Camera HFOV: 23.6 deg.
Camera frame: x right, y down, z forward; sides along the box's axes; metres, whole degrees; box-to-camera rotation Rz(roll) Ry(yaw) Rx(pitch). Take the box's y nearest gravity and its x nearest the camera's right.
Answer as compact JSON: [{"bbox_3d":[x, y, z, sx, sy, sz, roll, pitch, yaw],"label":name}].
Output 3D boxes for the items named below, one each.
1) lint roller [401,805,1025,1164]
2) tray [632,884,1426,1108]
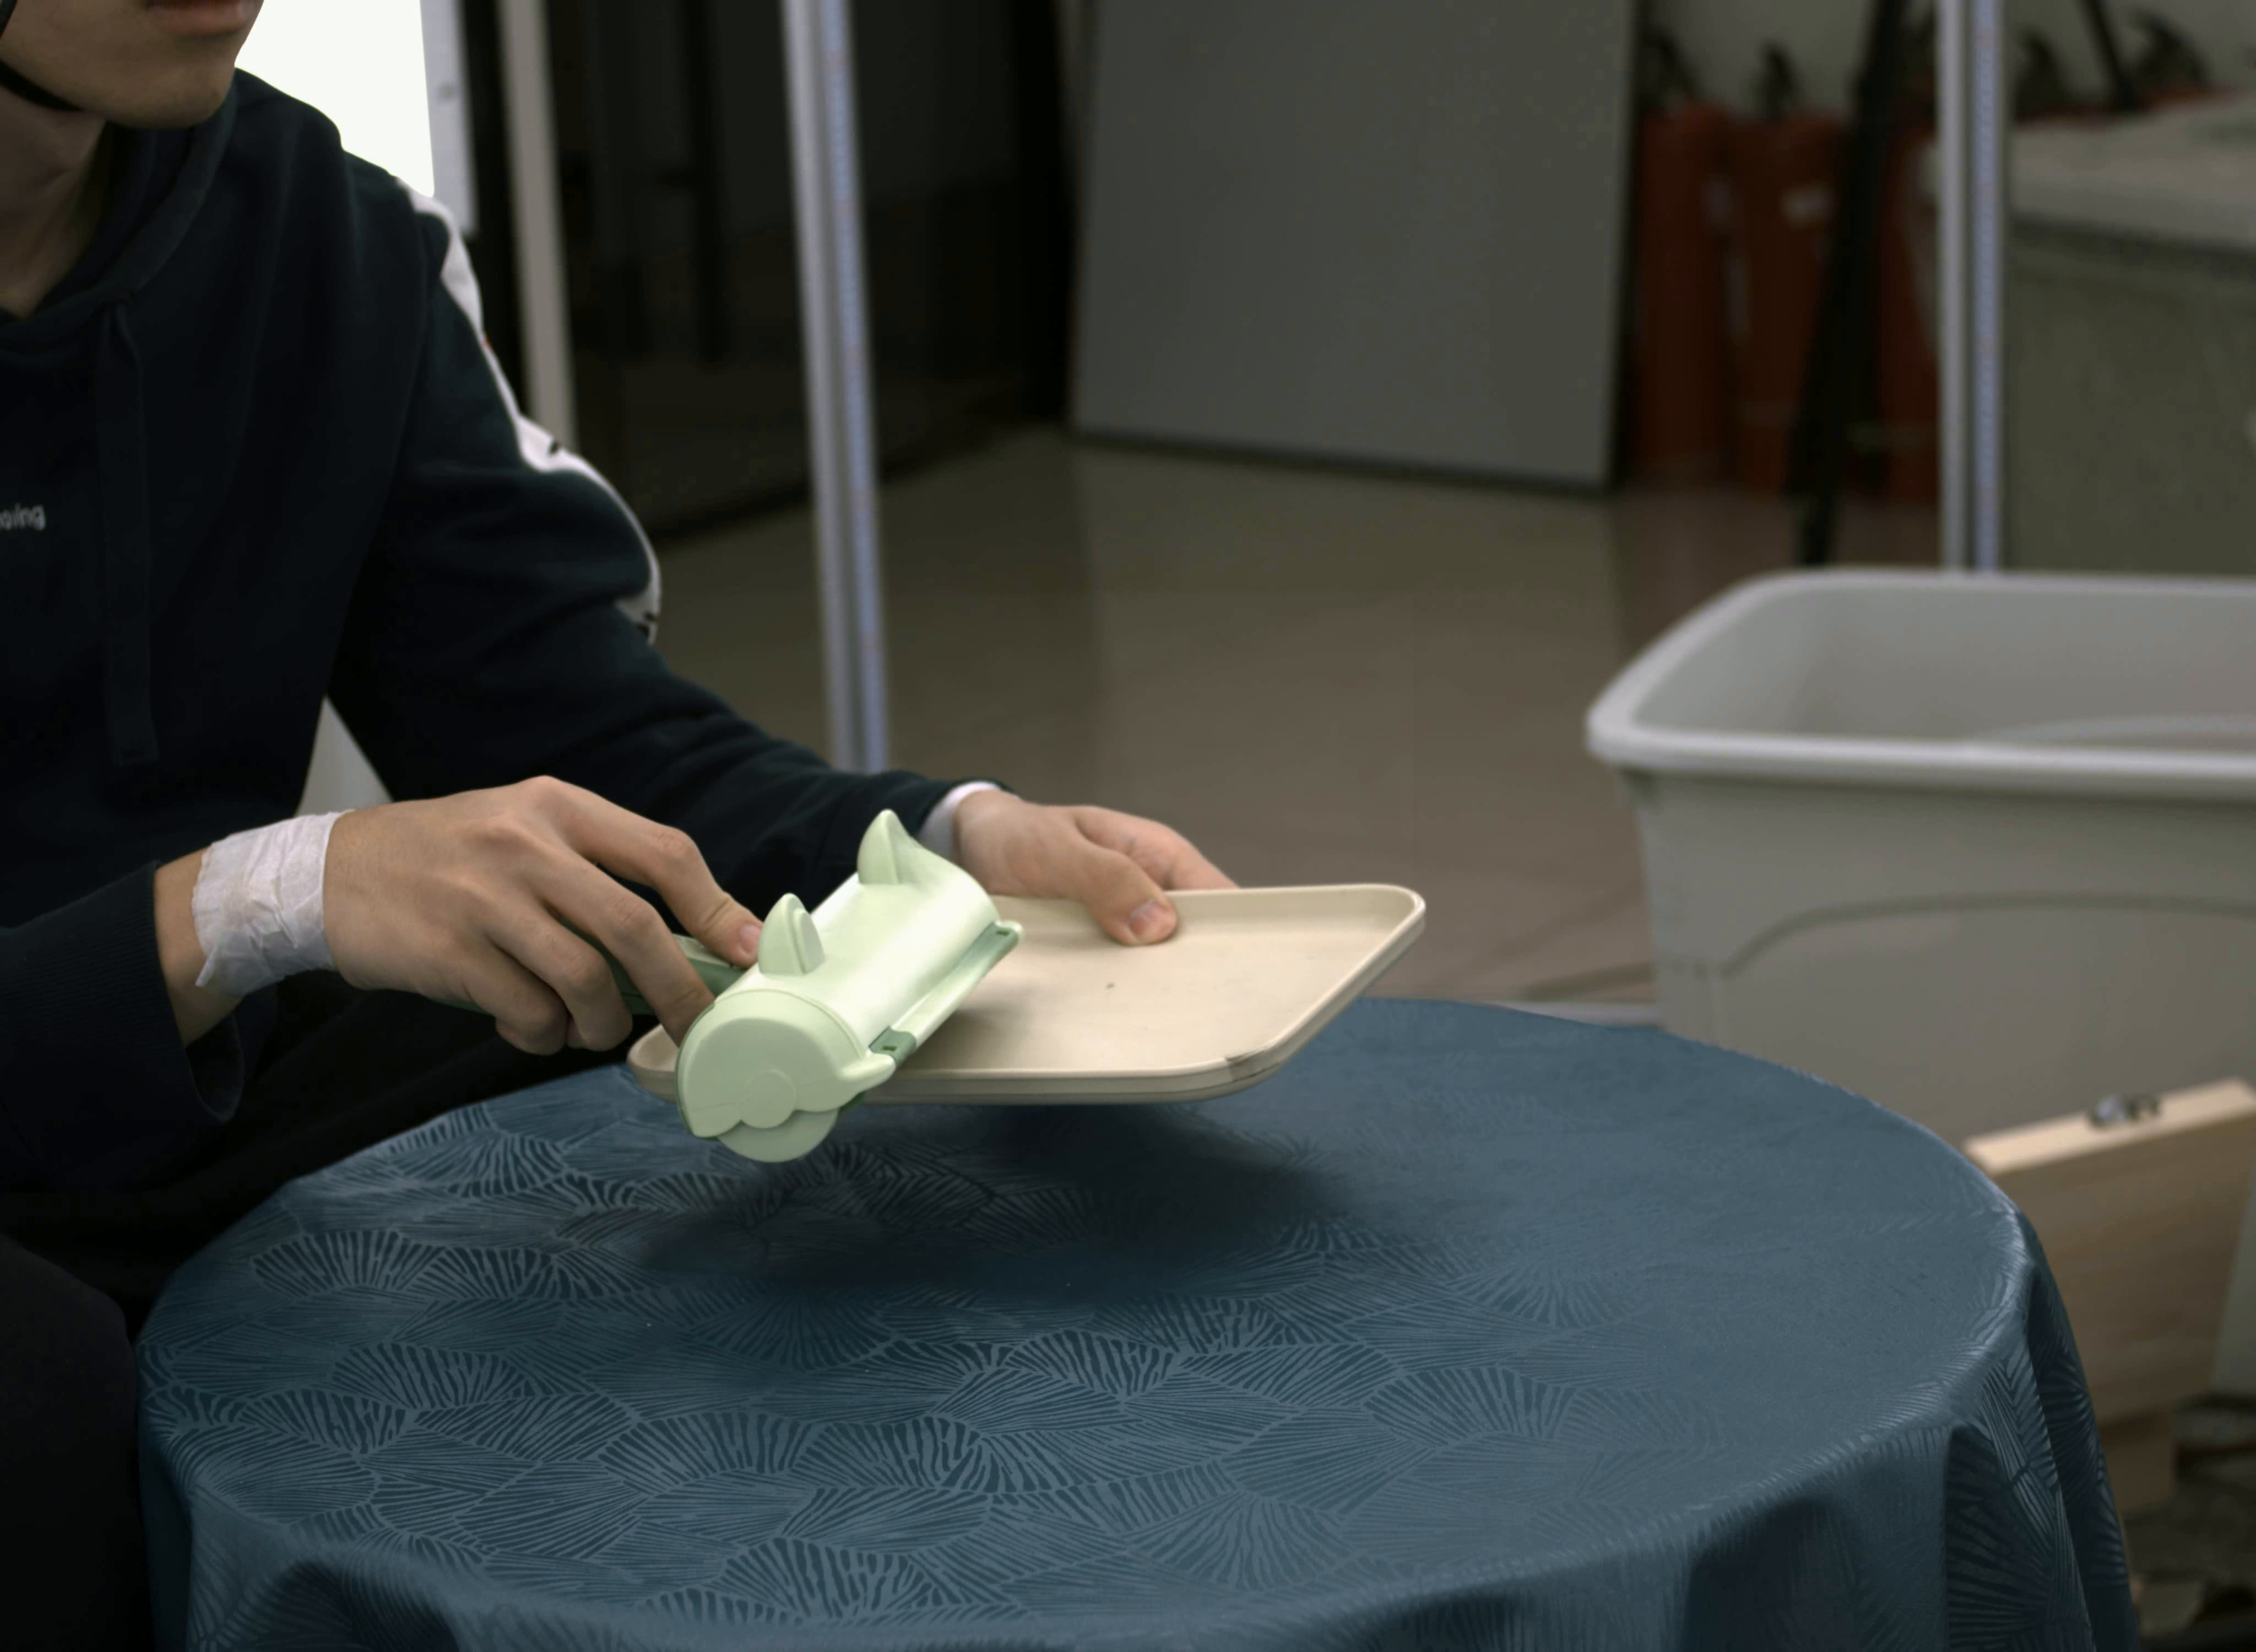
[{"bbox_3d":[-0.139,0.034,1.706,0.182,0.083,0.197,15,16,10],"label":"lint roller"},{"bbox_3d":[-0.031,0.057,1.763,0.240,0.017,0.169,-3,17,28],"label":"tray"}]
